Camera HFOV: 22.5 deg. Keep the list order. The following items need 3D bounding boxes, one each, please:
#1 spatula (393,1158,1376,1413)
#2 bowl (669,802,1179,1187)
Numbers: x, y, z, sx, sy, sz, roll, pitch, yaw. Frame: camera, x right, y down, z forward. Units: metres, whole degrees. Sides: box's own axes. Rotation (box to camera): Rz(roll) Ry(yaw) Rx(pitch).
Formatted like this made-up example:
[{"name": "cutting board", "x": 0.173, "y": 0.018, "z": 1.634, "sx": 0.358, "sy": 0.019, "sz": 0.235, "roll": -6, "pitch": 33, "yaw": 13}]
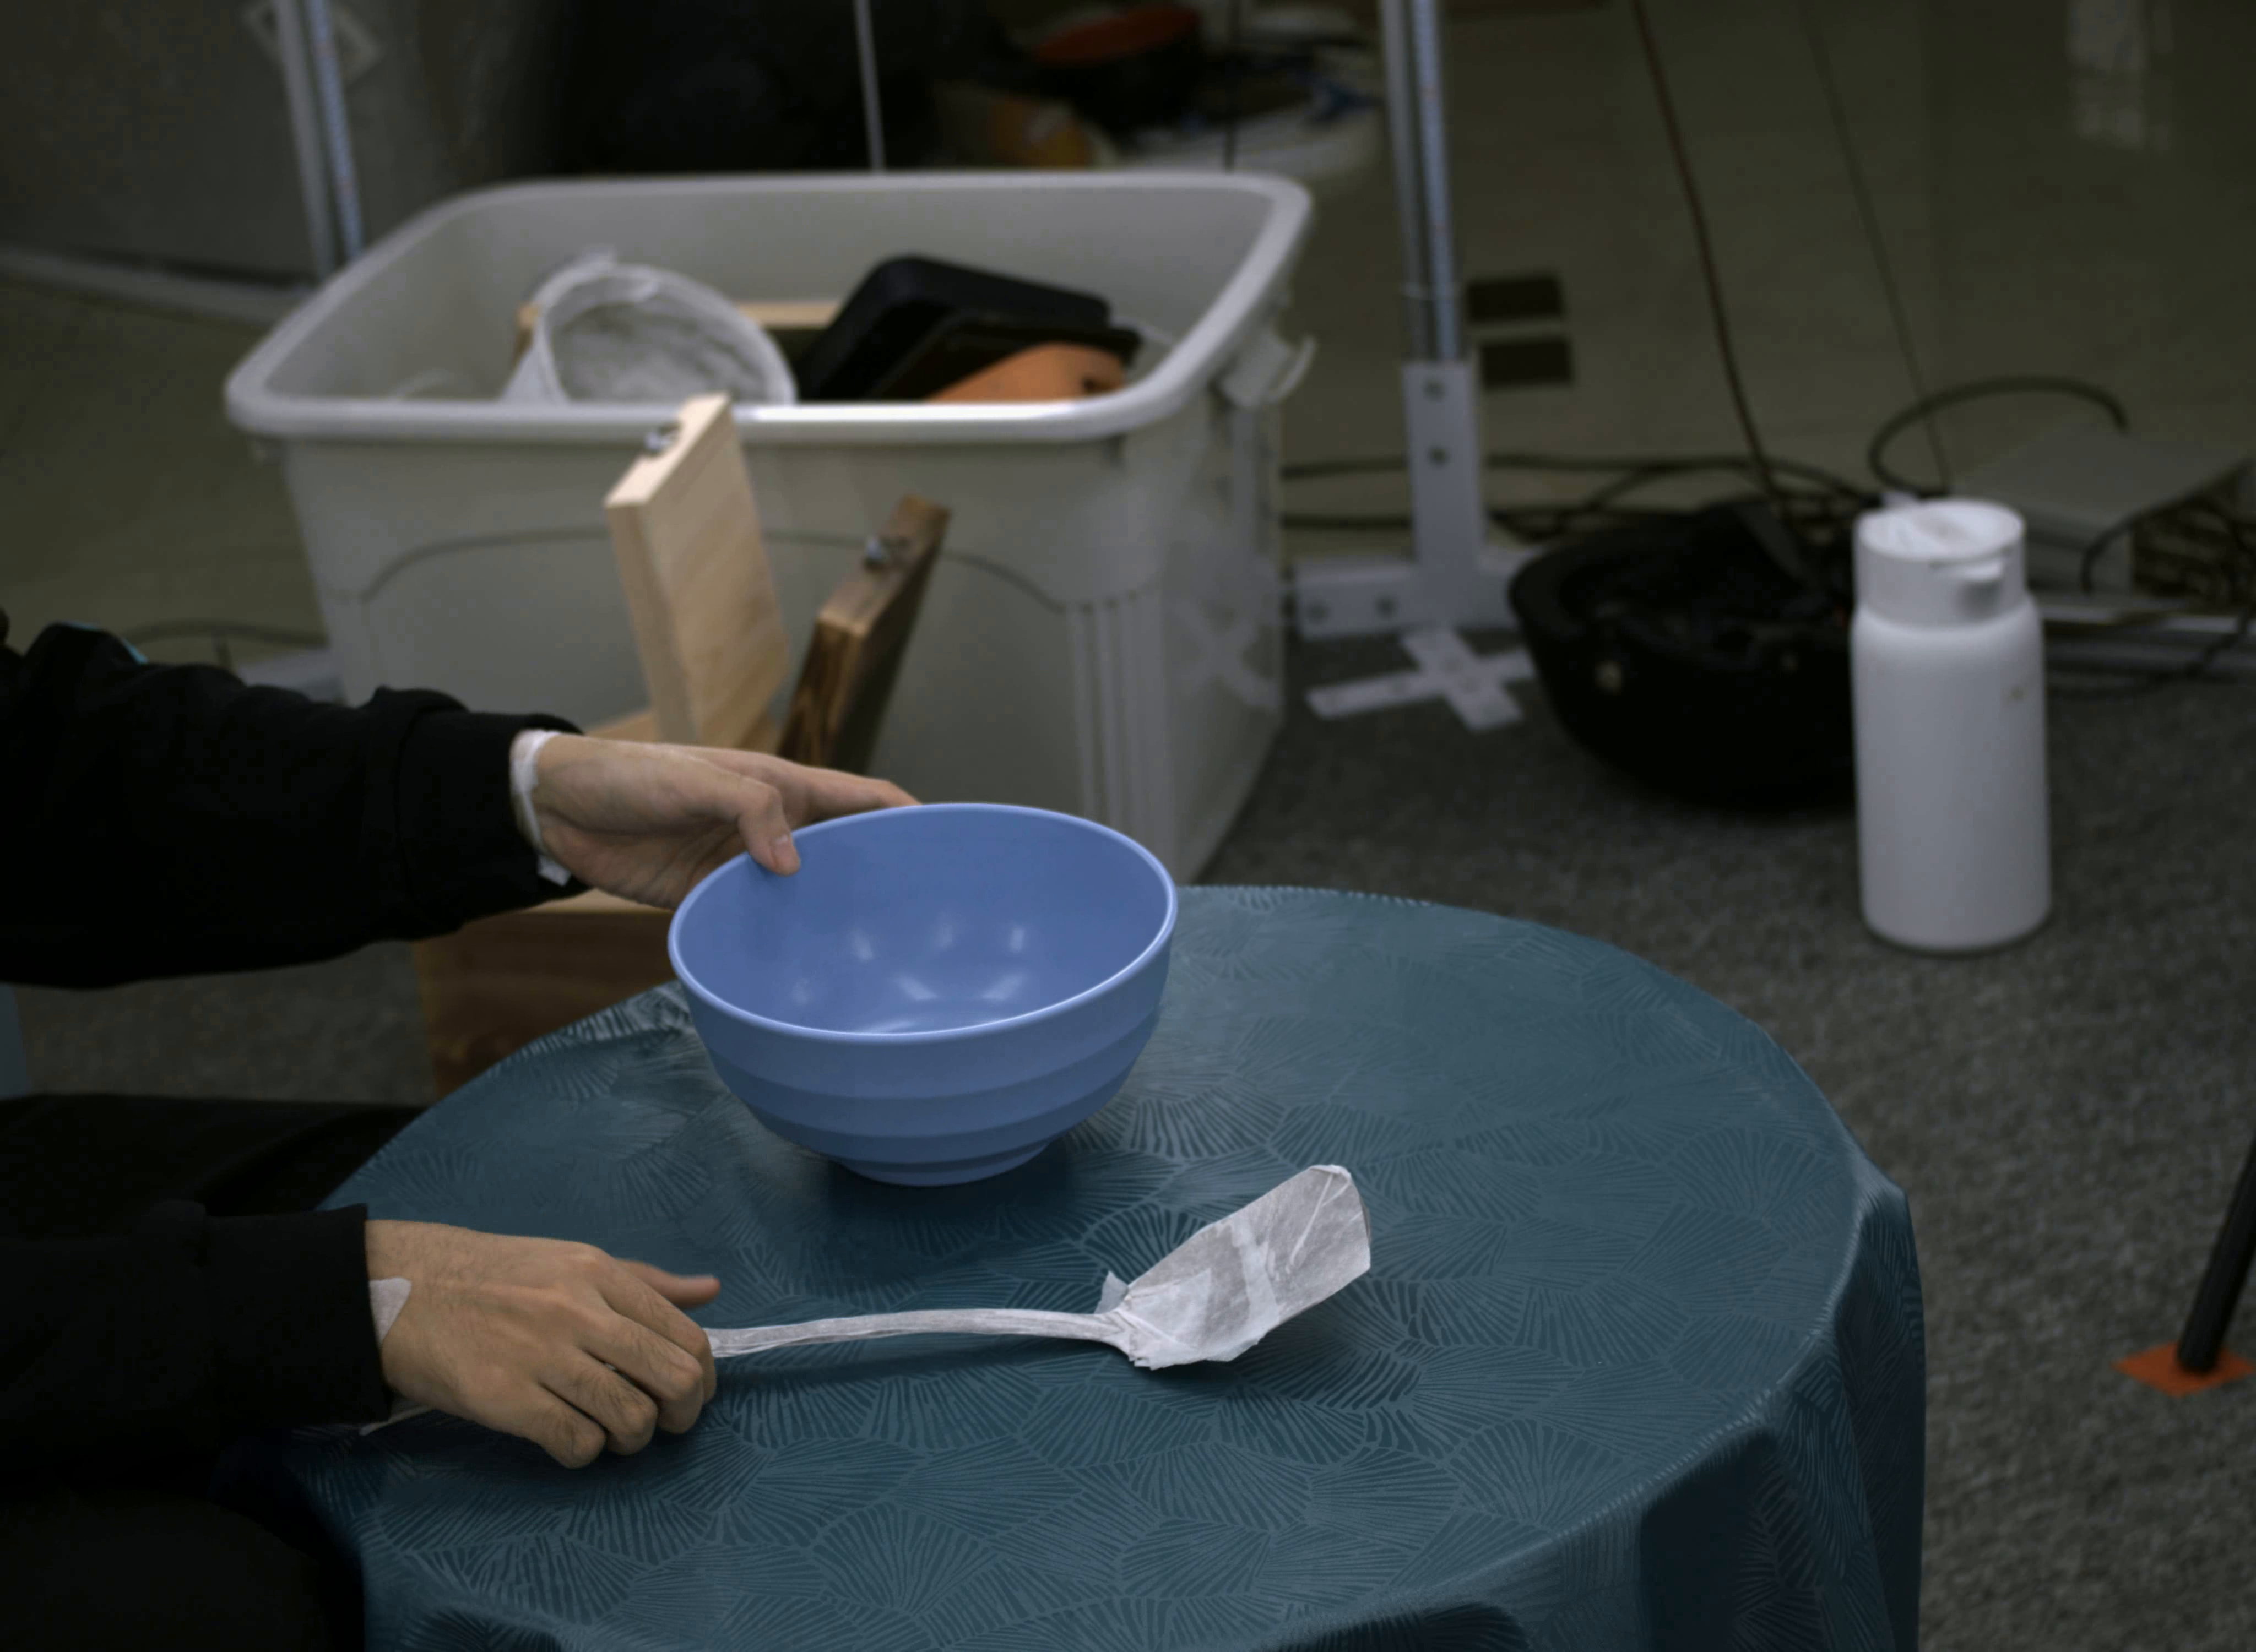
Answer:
[{"name": "spatula", "x": -0.090, "y": 0.176, "z": 2.050, "sx": 0.364, "sy": 0.045, "sz": 0.097, "roll": -6, "pitch": 27, "yaw": 1}, {"name": "bowl", "x": -0.075, "y": 0.076, "z": 2.189, "sx": 0.196, "sy": 0.097, "sz": 0.193, "roll": -3, "pitch": 27, "yaw": 2}]
